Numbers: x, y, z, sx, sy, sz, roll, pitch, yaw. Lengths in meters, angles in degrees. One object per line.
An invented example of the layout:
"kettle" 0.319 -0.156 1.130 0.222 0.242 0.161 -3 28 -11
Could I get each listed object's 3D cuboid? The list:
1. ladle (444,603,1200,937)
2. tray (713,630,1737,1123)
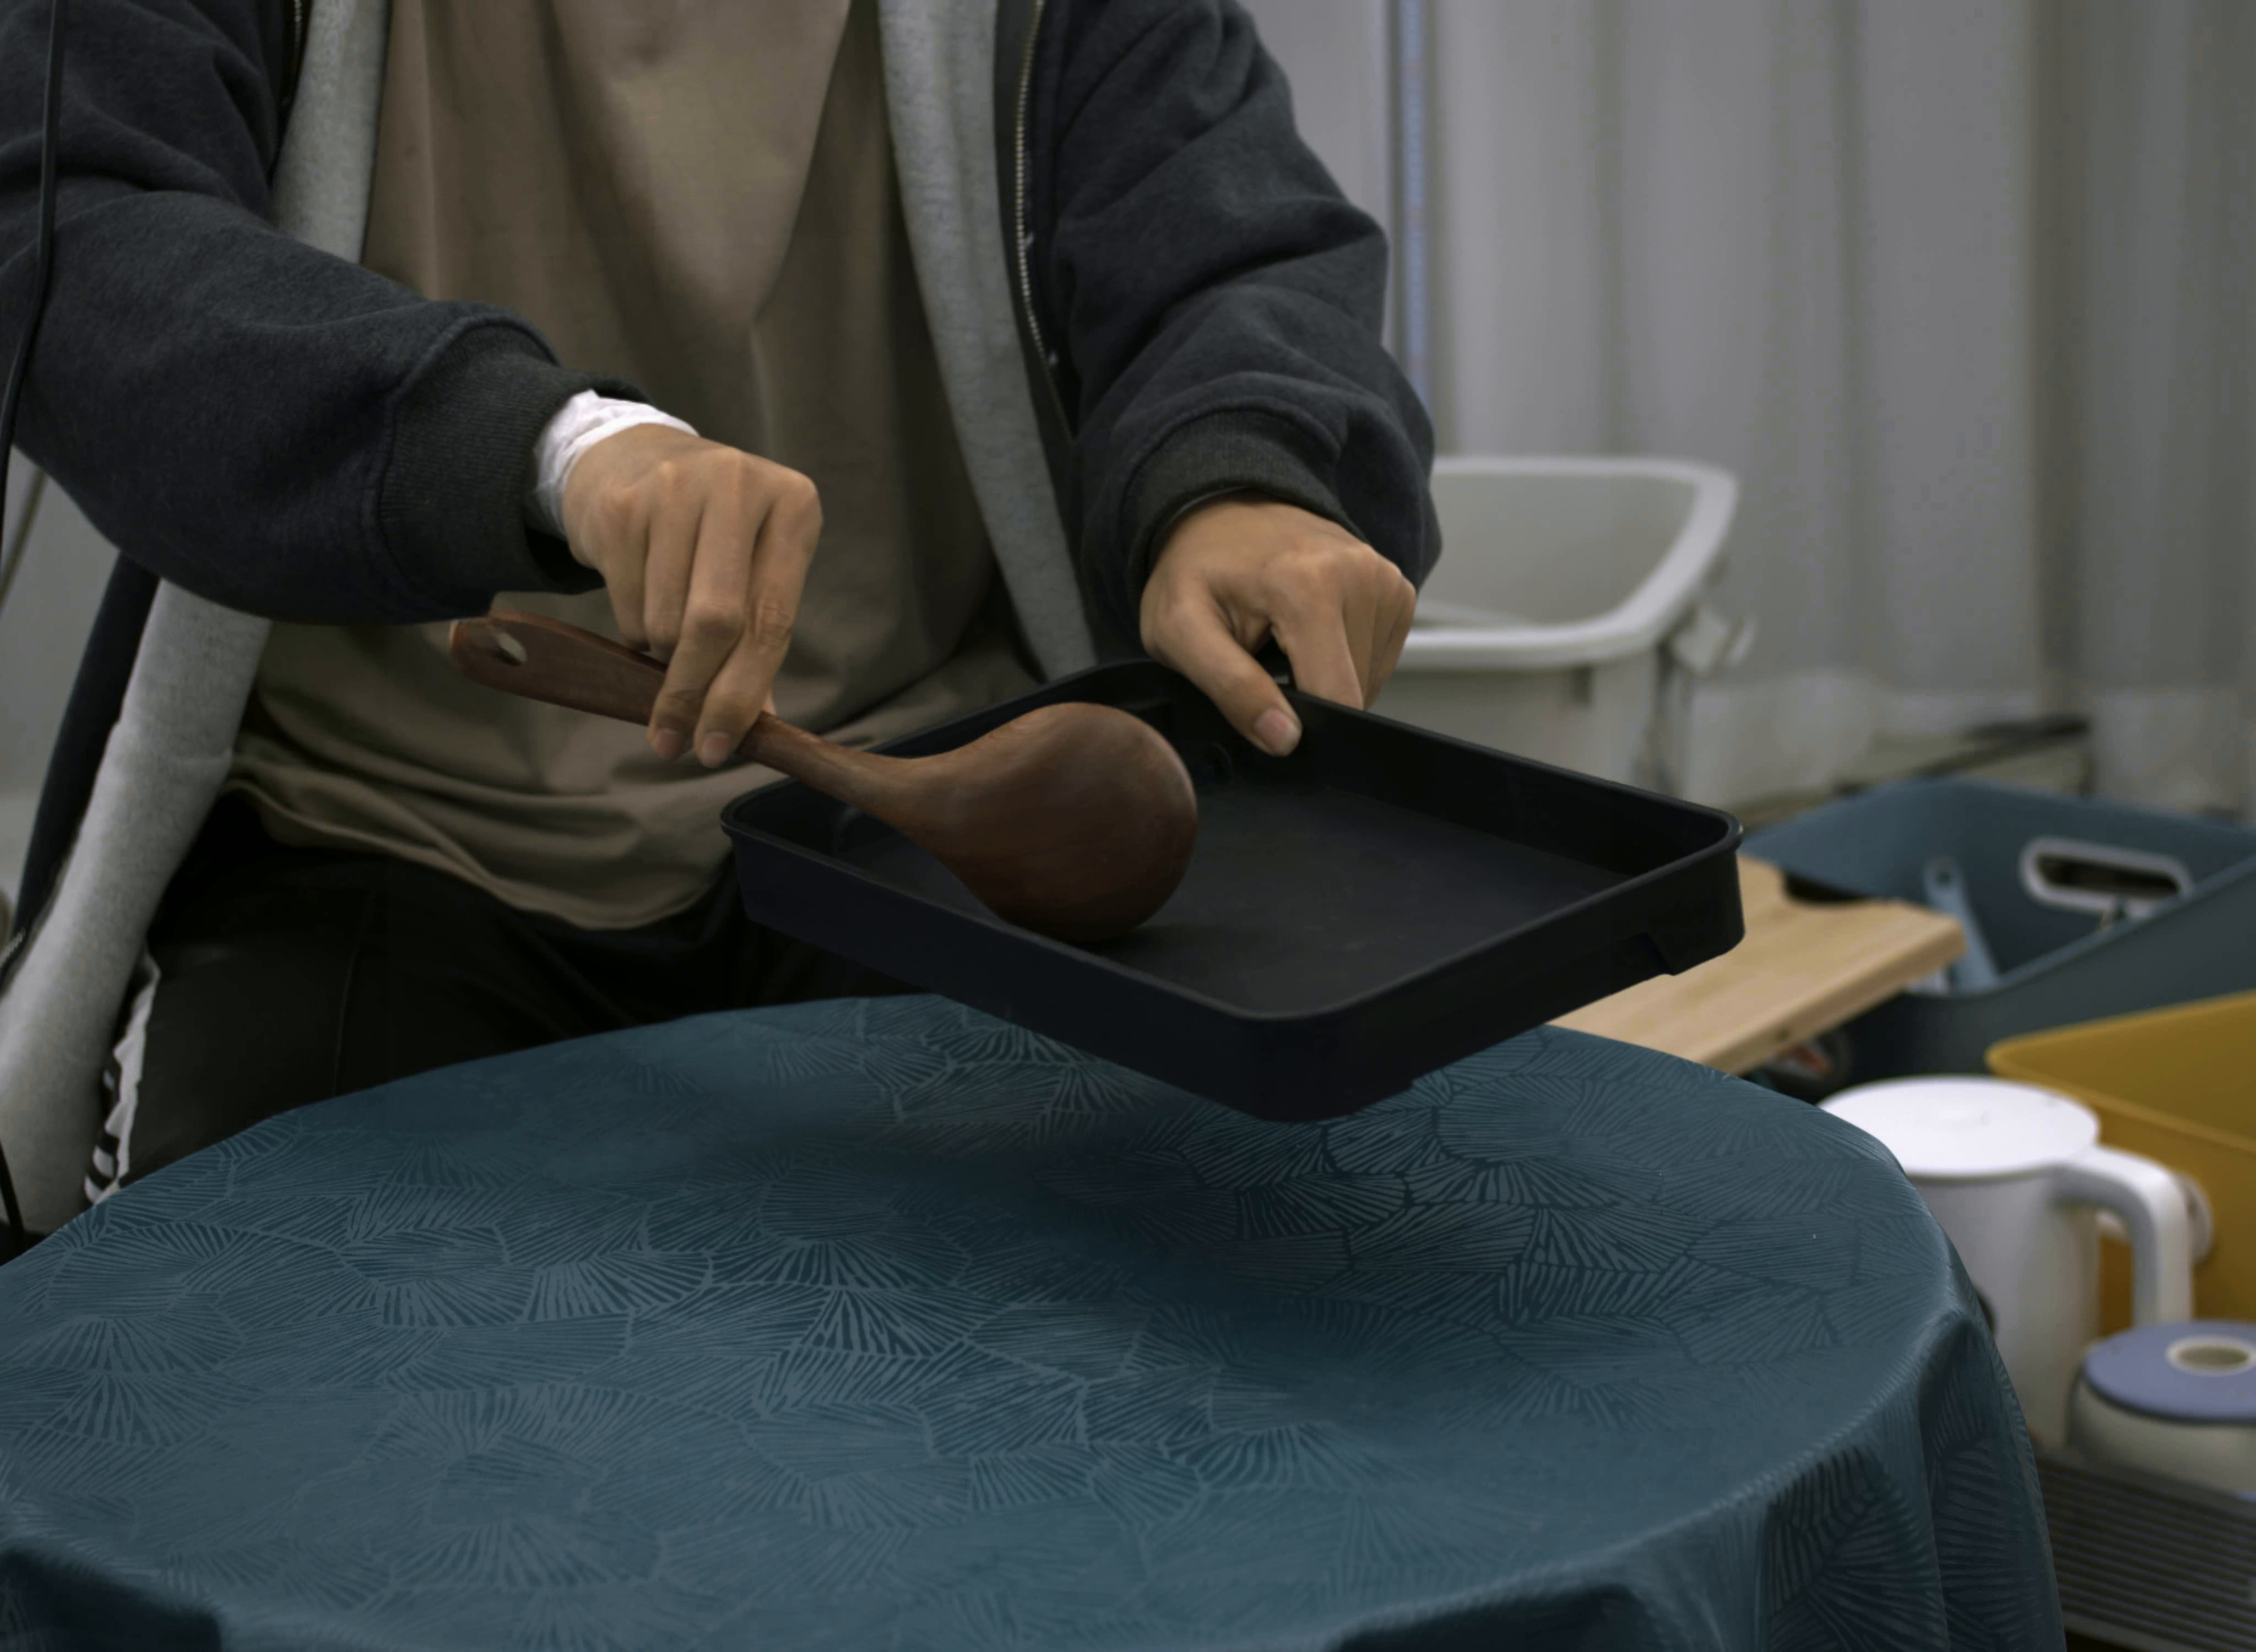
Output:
"ladle" -0.097 -0.029 1.713 0.261 0.076 0.065 19 19 29
"tray" 0.025 0.010 1.683 0.184 0.037 0.320 -21 24 -30
